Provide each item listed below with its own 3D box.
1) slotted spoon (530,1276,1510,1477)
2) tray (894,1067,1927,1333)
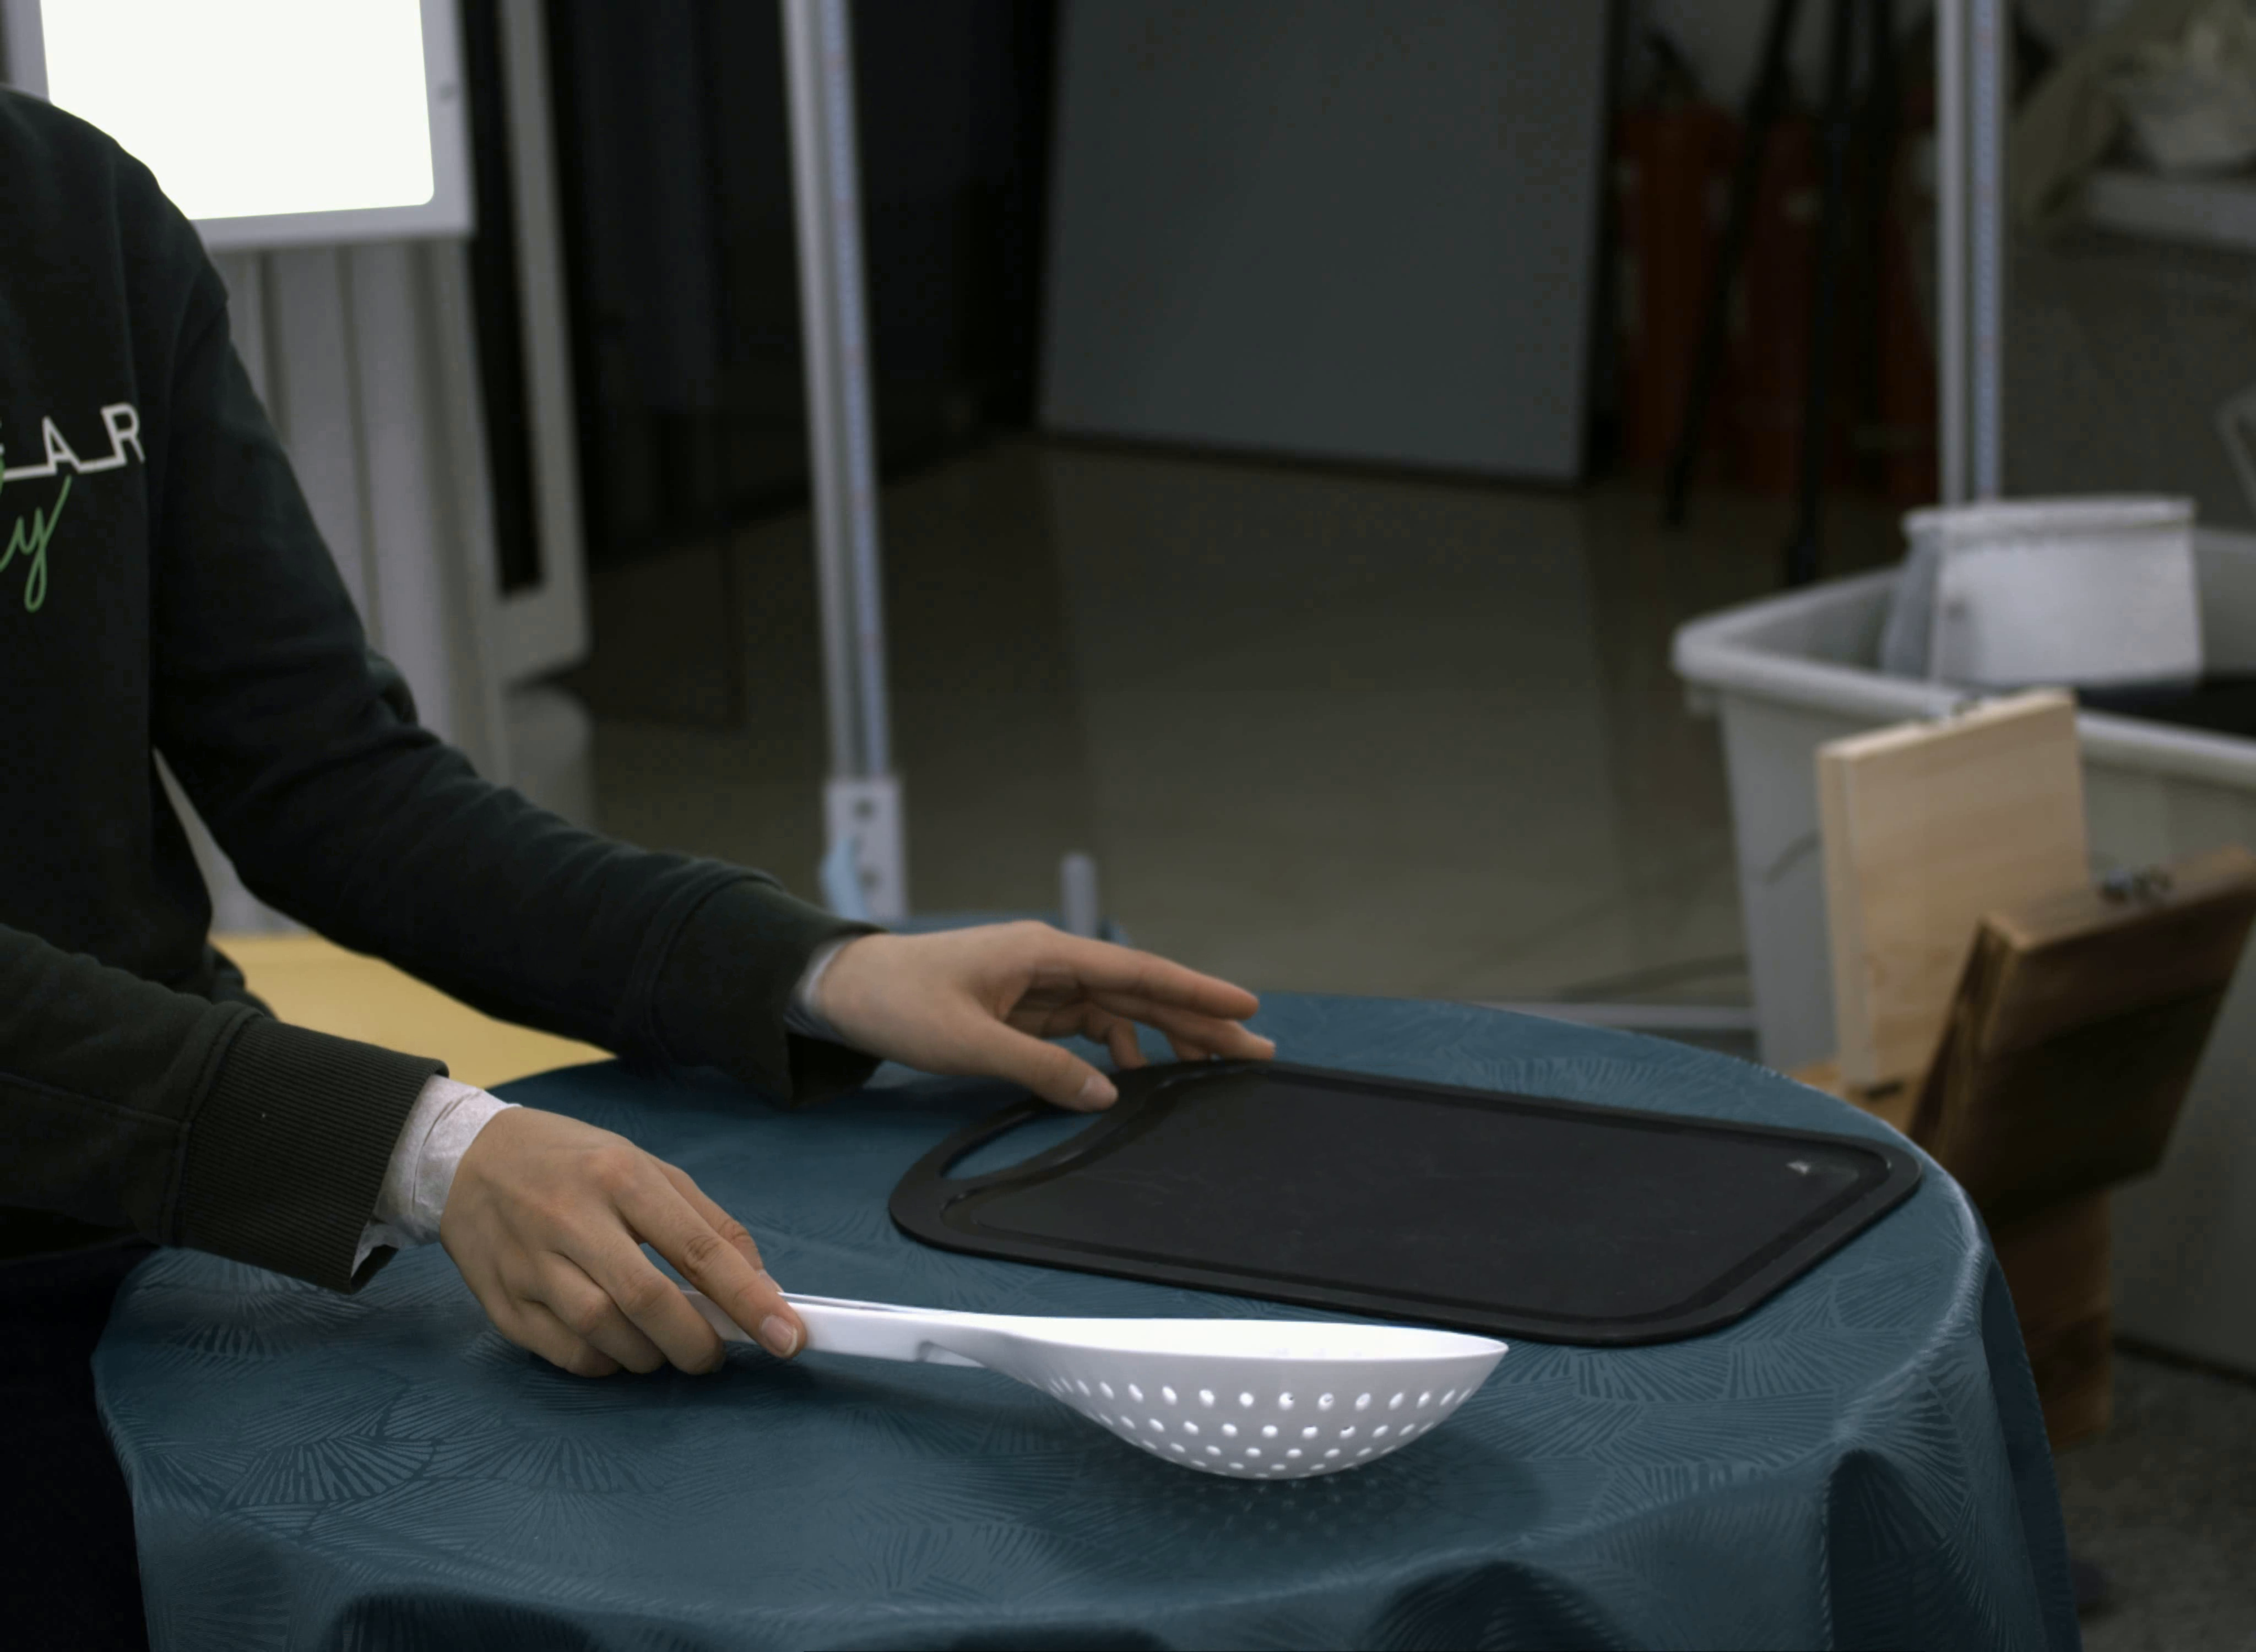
[{"bbox_3d":[-0.044,0.149,1.571,0.352,0.046,0.133,6,0,40],"label":"slotted spoon"},{"bbox_3d":[0.083,0.117,1.748,0.327,0.010,0.207,5,17,33],"label":"tray"}]
